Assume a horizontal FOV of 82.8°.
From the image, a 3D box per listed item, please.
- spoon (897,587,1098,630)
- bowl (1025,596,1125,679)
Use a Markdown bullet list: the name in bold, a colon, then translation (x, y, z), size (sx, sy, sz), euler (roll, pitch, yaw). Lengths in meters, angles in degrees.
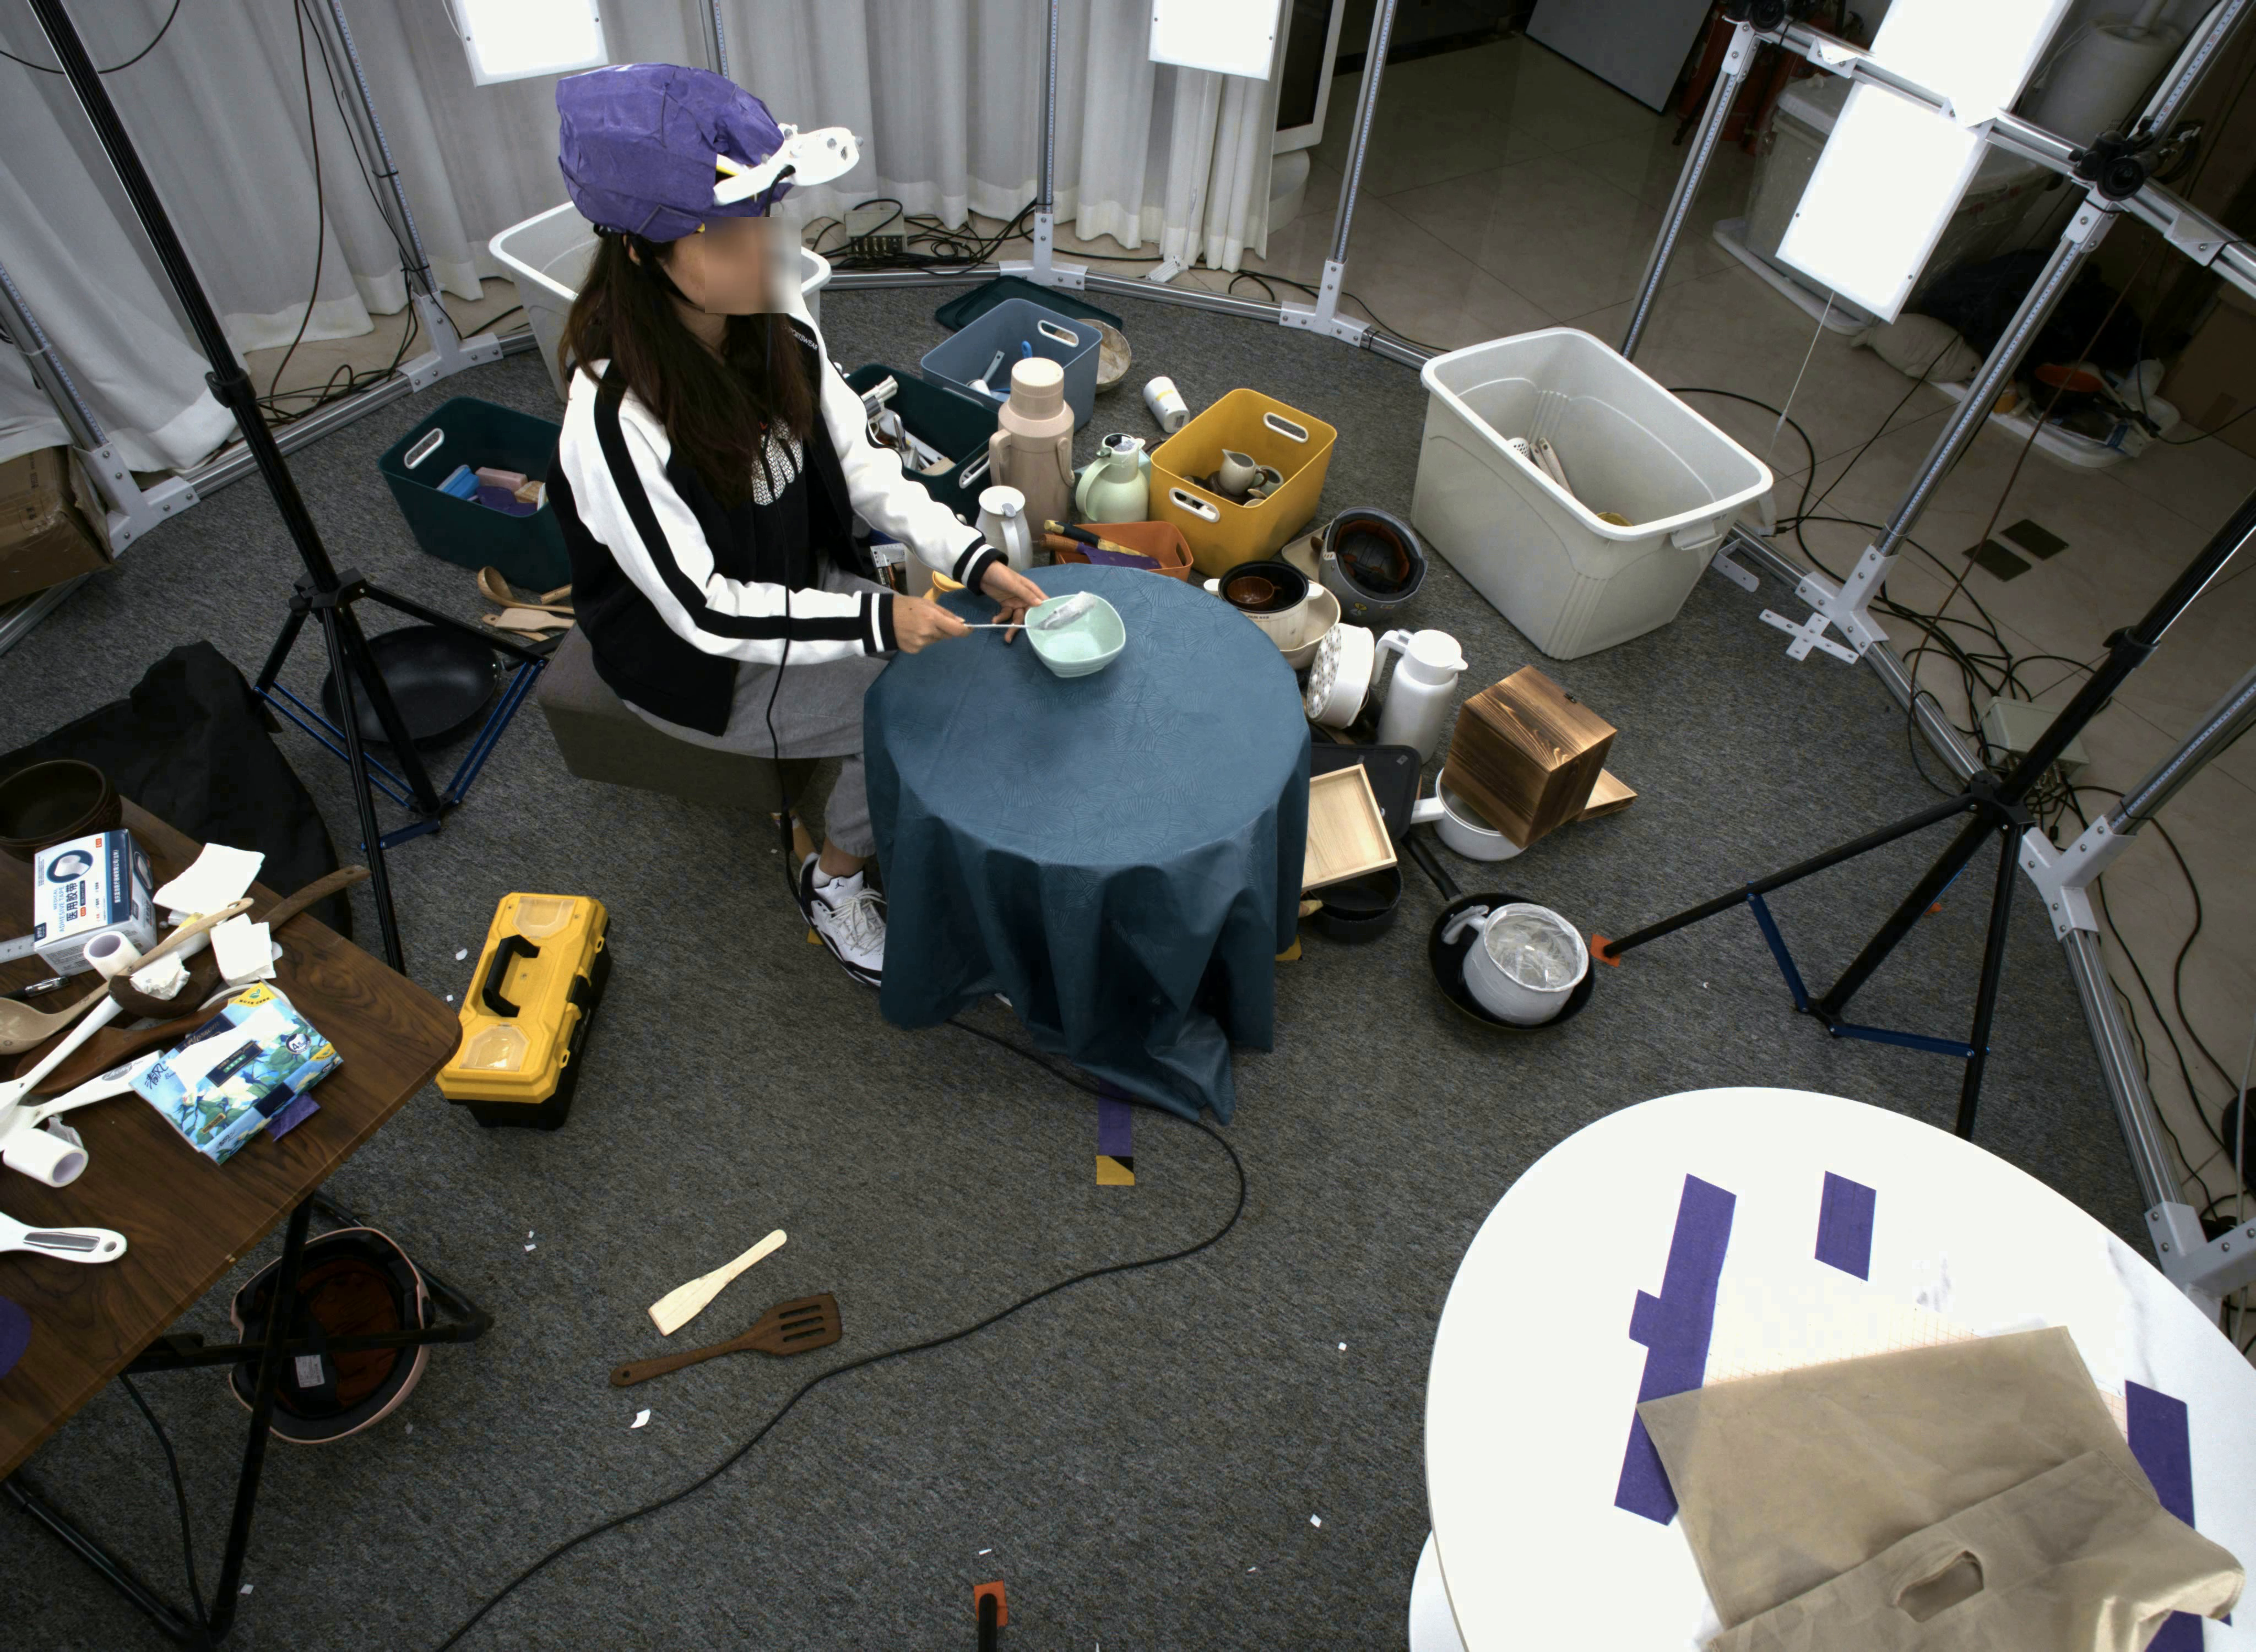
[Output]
- **spoon**: translation (-0.177, -0.299, 1.752), size (0.278, 0.059, 0.101), euler (3, 3, 9)
- **bowl**: translation (-0.078, -0.264, 1.860), size (0.151, 0.057, 0.155), euler (2, 49, -2)
